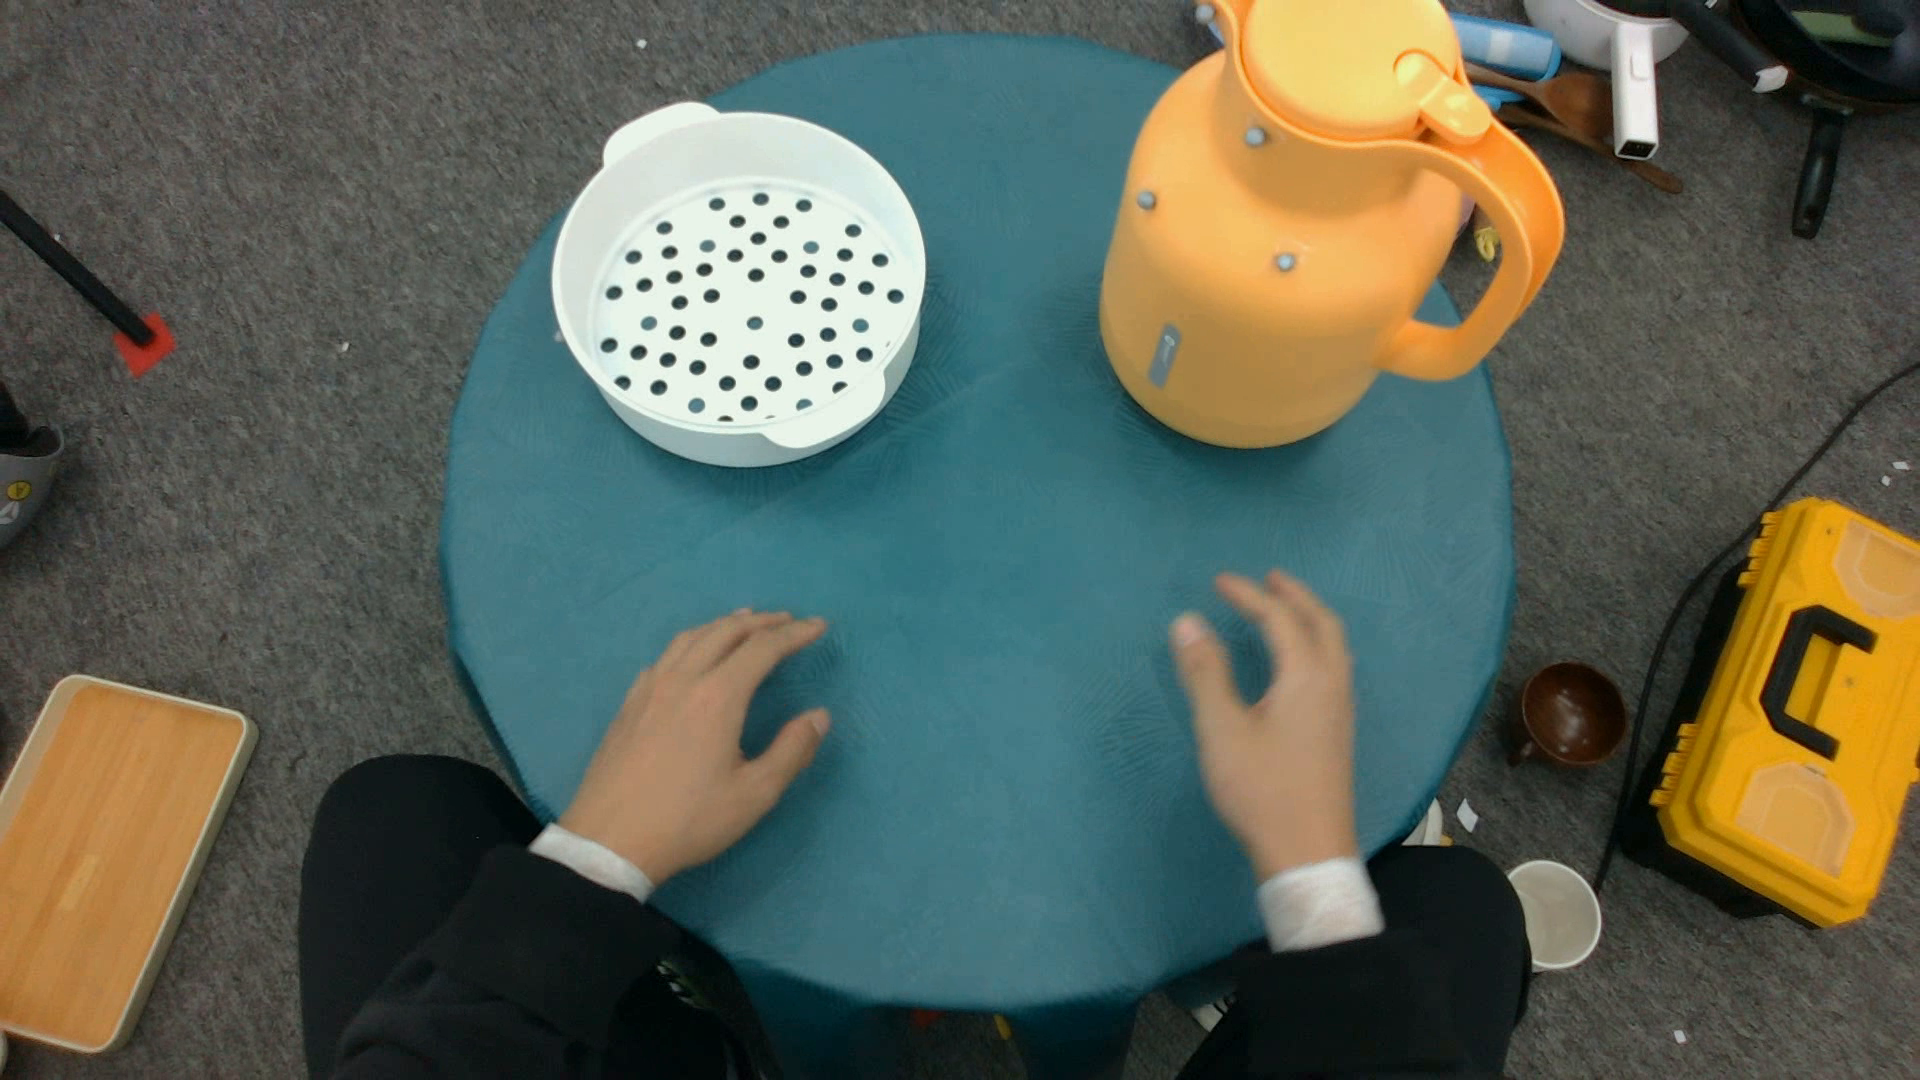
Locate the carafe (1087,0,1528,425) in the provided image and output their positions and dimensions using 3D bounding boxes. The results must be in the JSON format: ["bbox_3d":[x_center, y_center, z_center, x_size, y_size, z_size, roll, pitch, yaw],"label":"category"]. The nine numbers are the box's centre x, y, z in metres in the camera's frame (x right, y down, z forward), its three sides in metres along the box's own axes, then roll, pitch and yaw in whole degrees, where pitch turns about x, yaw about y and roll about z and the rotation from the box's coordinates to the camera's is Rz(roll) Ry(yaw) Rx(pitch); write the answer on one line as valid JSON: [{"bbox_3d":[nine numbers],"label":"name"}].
[{"bbox_3d":[0.164,-0.162,0.685,0.202,0.259,0.164,42,76,15],"label":"carafe"}]

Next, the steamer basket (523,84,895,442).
[{"bbox_3d":[-0.137,-0.152,0.777,0.202,0.069,0.231,-29,72,-13],"label":"steamer basket"}]
